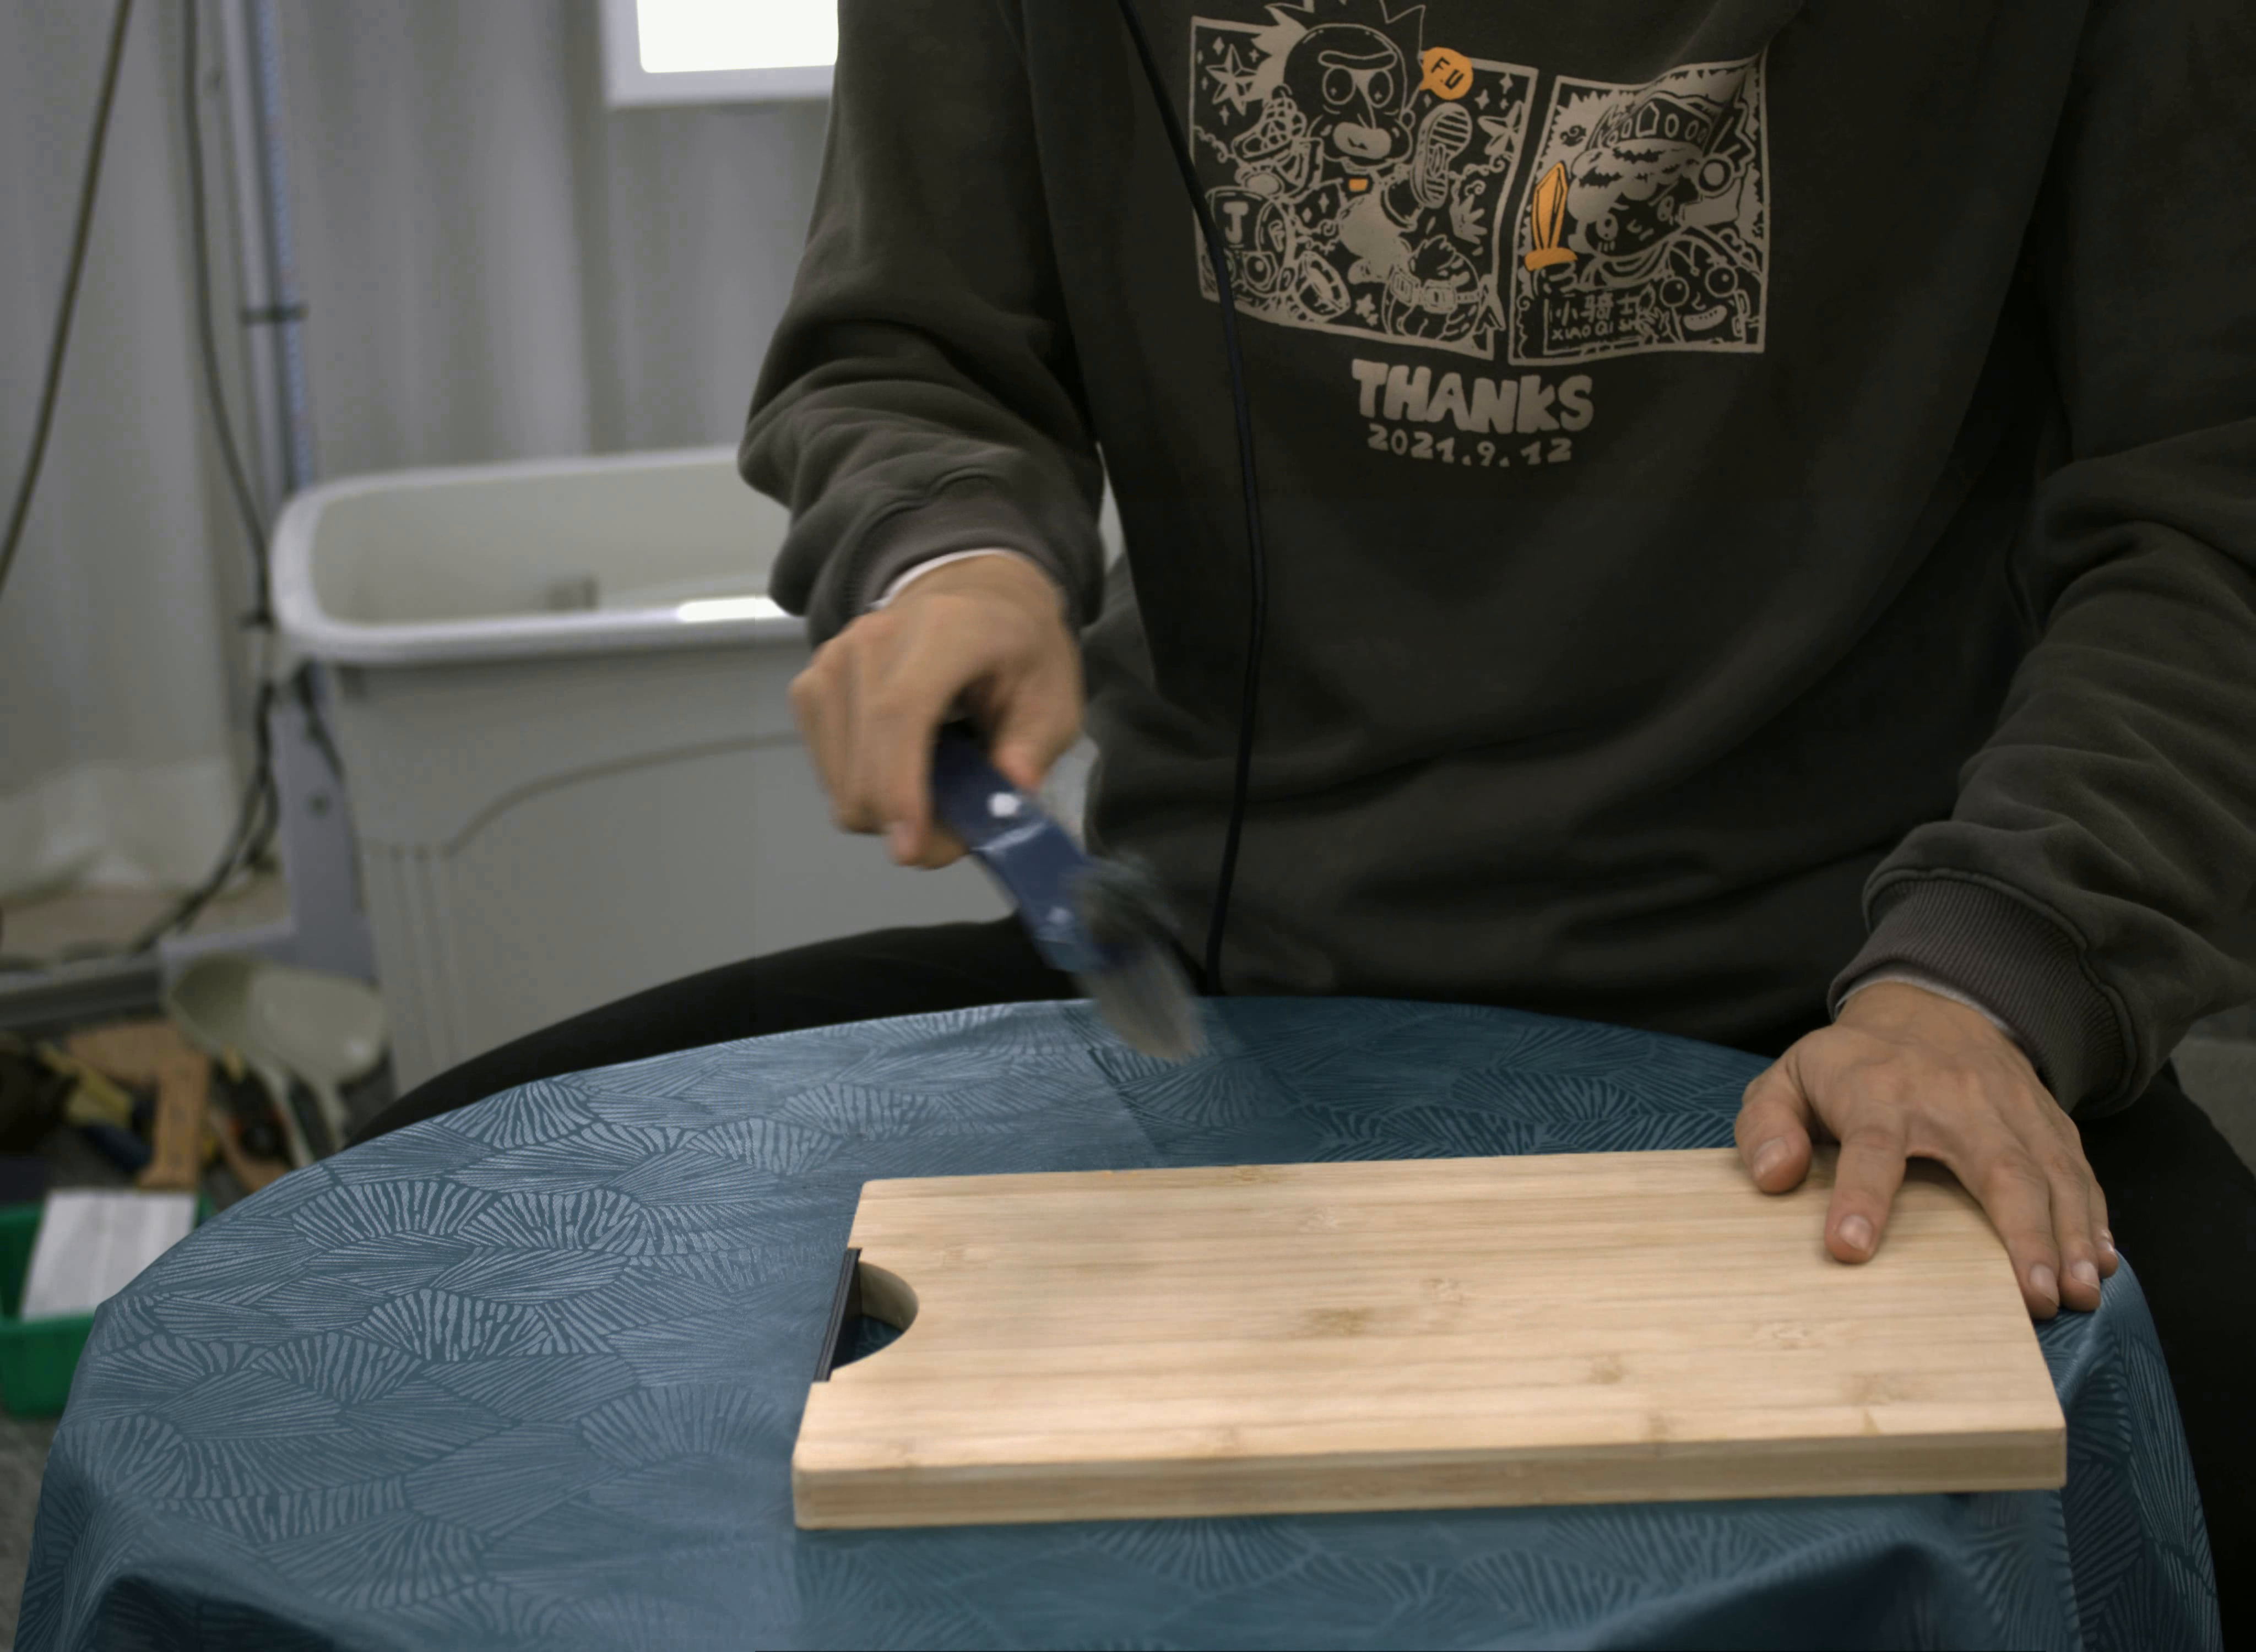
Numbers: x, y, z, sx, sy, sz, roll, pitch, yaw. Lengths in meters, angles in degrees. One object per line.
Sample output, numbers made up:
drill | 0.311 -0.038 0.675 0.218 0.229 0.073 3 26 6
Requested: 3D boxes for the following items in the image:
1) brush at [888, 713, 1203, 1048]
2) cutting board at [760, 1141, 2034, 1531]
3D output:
brush | -0.029 -0.002 1.638 0.033 0.095 0.276 -30 29 -7
cutting board | 0.077 0.144 1.568 0.347 0.023 0.252 -2 14 2
